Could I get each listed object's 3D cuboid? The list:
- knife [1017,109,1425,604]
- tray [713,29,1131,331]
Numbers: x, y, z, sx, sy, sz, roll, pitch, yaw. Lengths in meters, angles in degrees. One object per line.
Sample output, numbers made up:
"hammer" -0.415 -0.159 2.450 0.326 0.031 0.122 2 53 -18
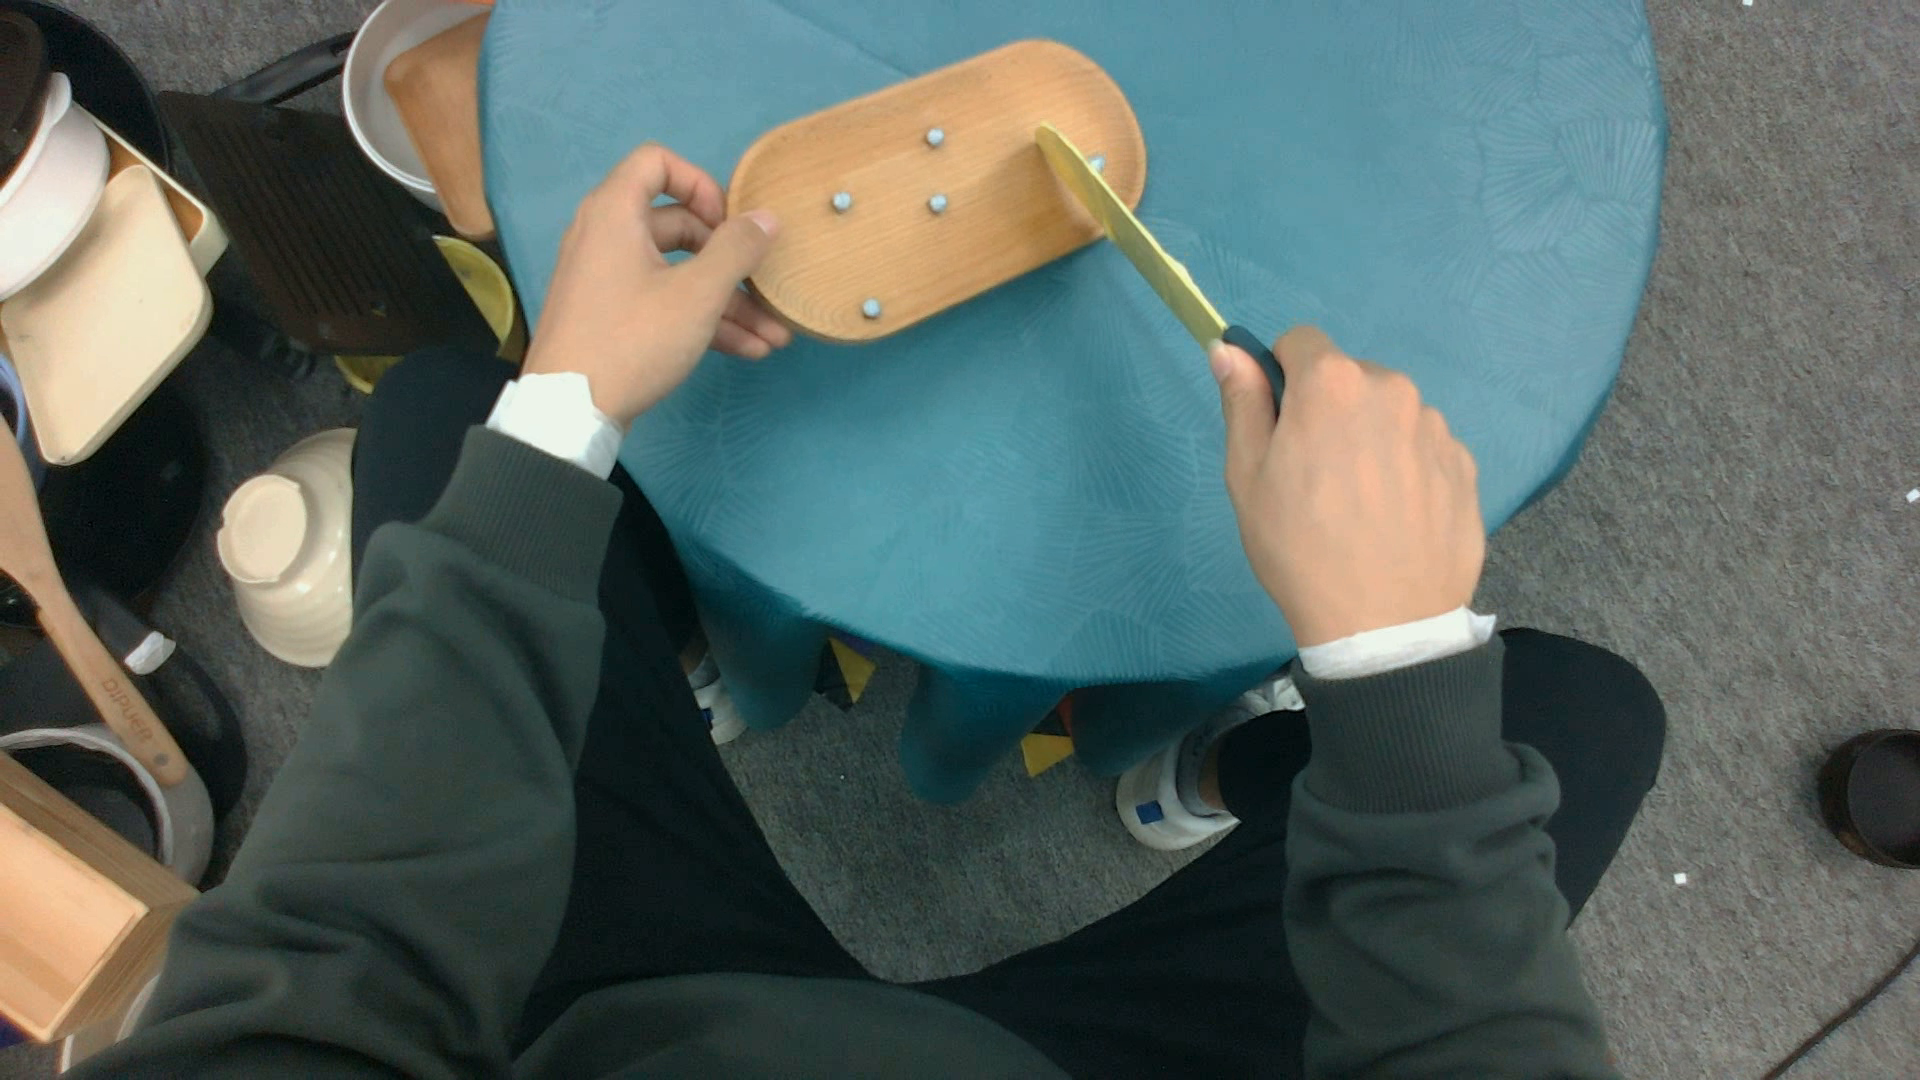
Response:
"knife" 0.102 -0.088 0.592 0.027 0.081 0.290 -36 67 7
"tray" -0.011 -0.169 0.639 0.232 0.020 0.101 -31 95 -31
